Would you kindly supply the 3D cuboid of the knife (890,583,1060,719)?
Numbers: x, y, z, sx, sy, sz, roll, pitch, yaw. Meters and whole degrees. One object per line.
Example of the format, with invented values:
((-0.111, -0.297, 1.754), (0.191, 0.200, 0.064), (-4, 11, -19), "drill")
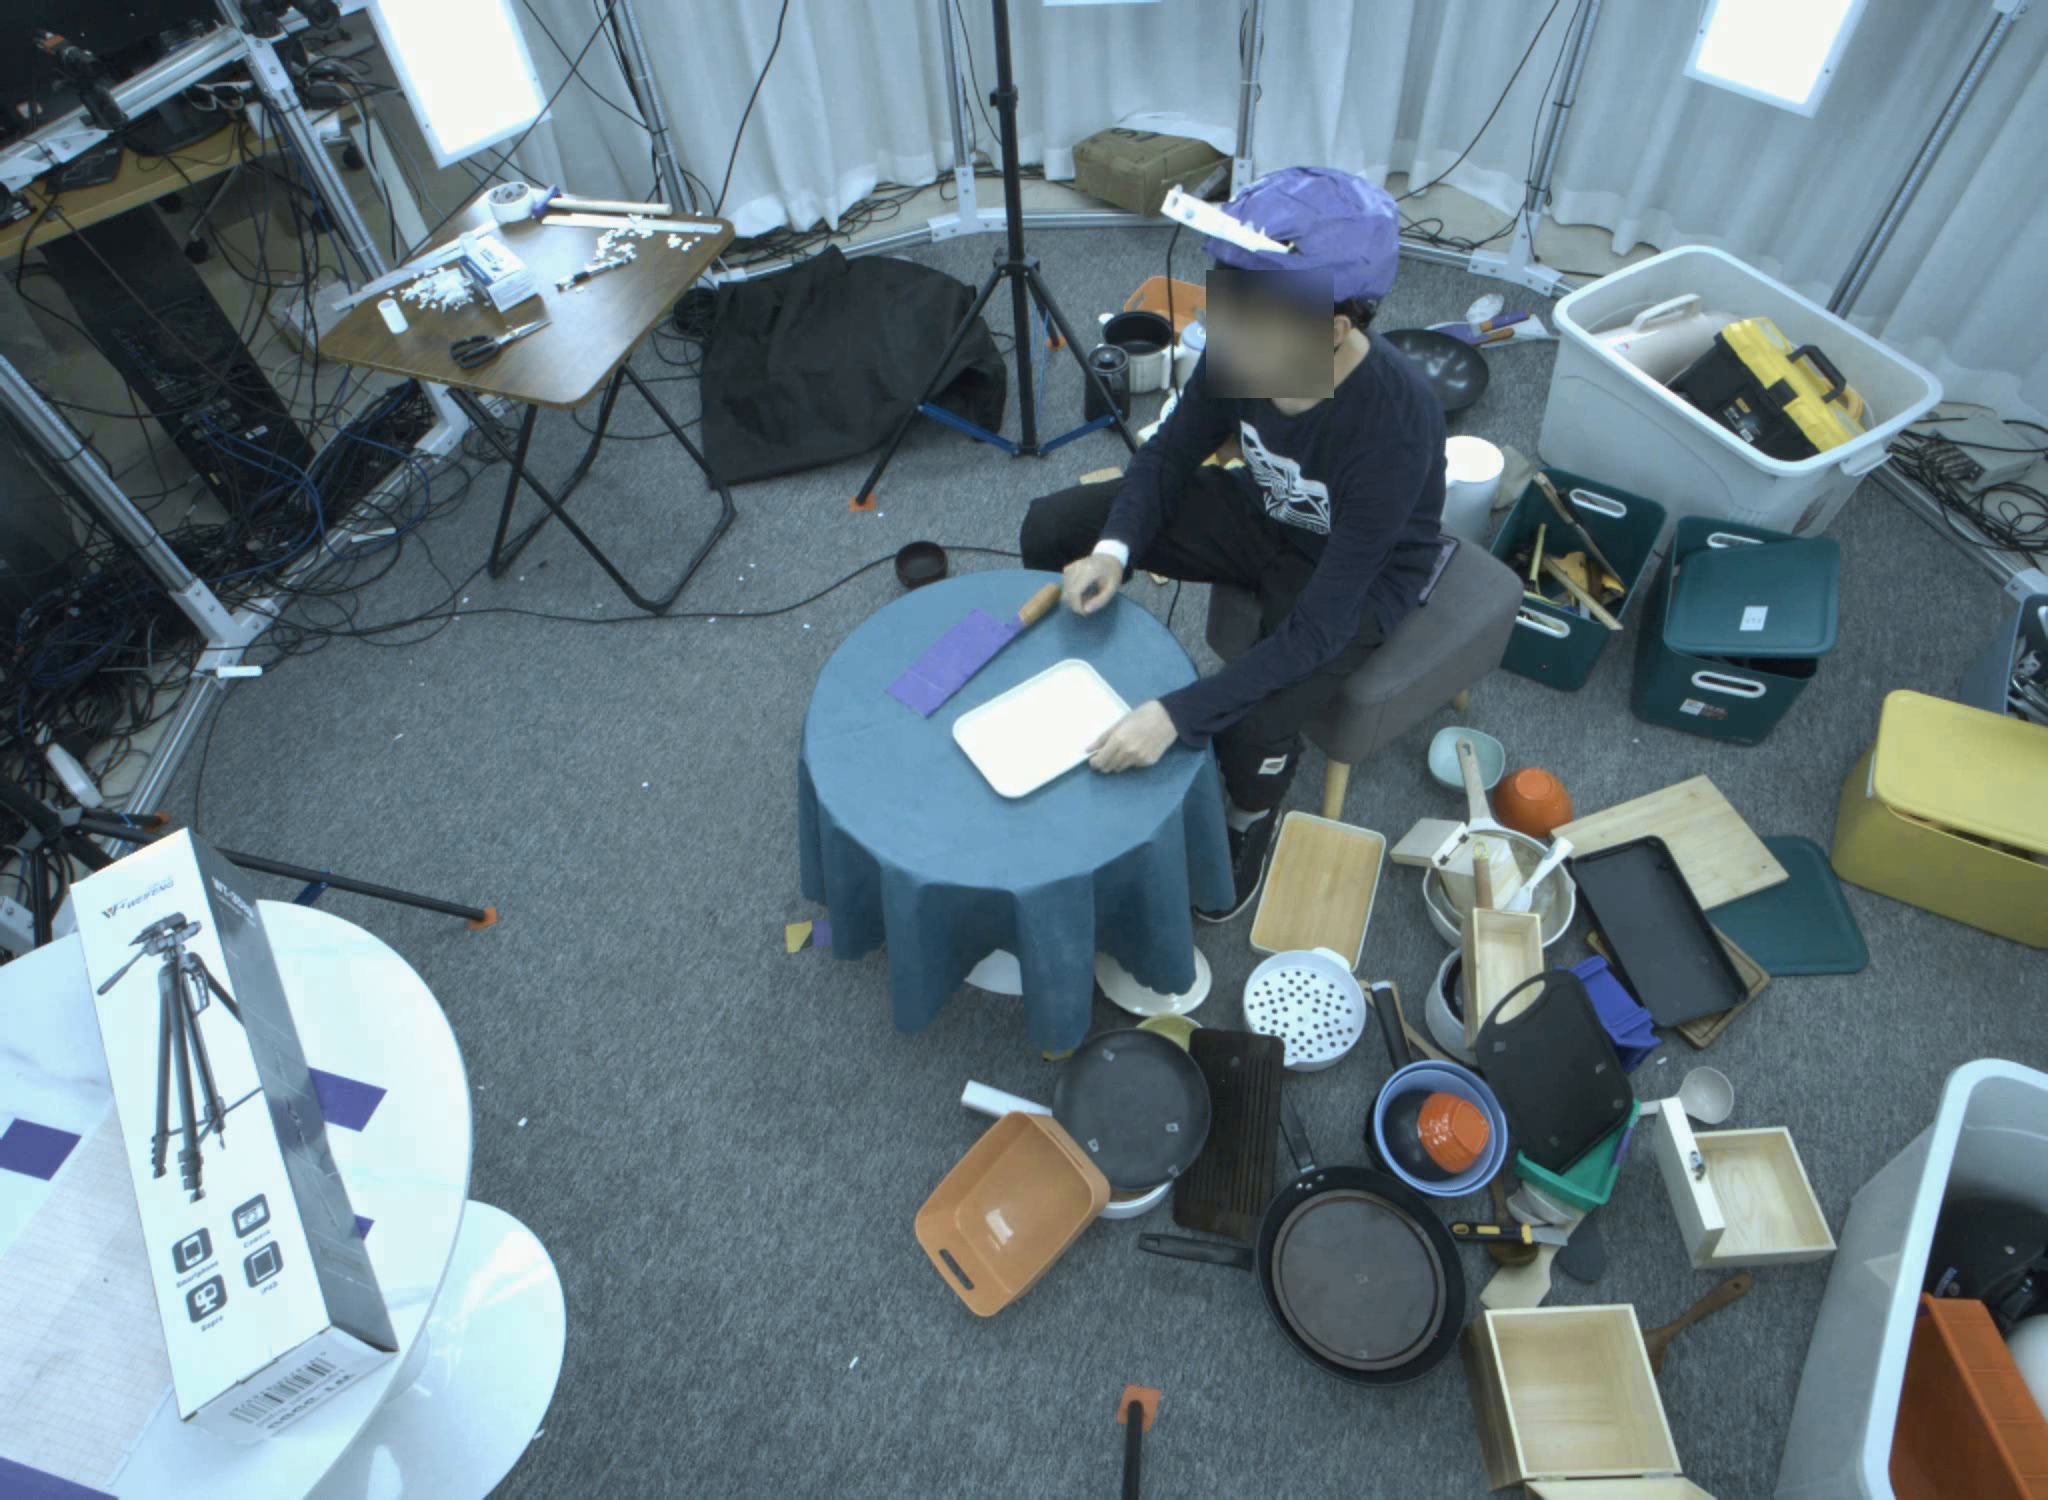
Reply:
((-0.077, -0.172, 1.903), (0.102, 0.032, 0.317), (34, 62, 23), "knife")

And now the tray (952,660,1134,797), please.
((0.028, -0.033, 1.807), (0.241, 0.017, 0.168), (-29, 58, -18), "tray")
